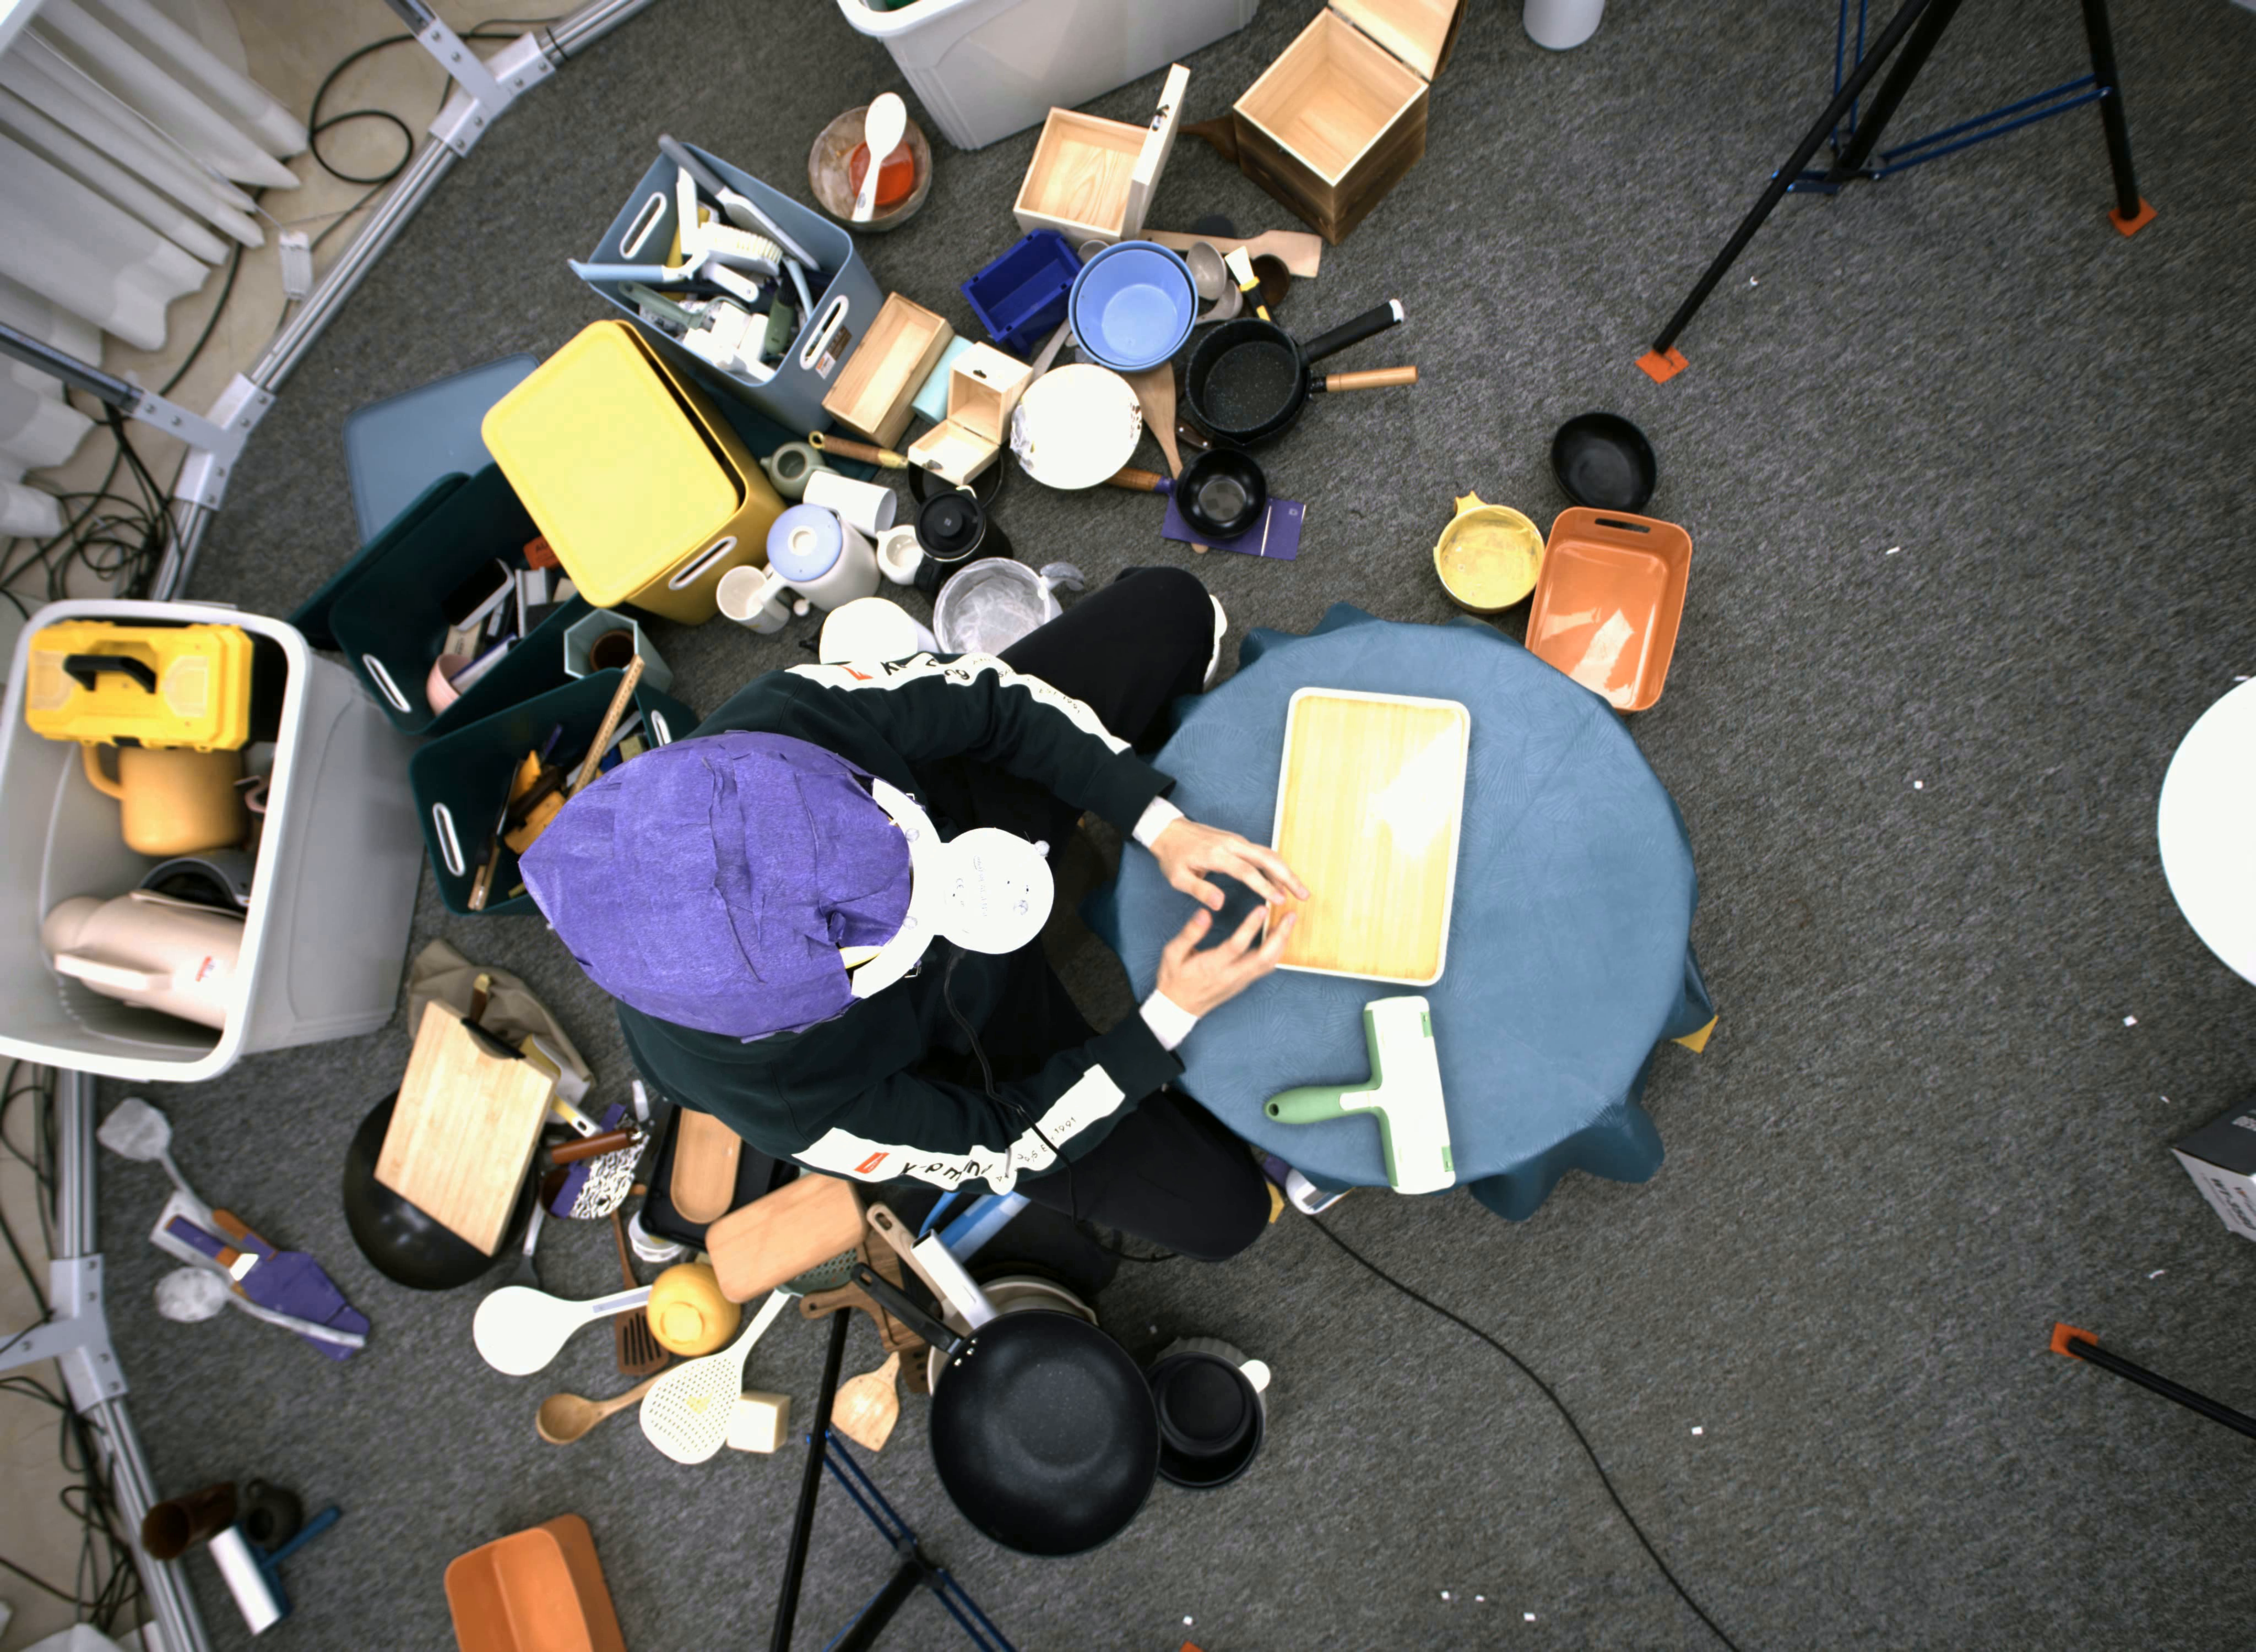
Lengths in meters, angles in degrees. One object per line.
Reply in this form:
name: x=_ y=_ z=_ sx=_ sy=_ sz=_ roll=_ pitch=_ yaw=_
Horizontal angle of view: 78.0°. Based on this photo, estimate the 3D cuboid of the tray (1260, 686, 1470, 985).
tray: x=0.248 y=0.007 z=1.449 sx=0.192 sy=0.027 sz=0.299 roll=7 pitch=88 yaw=11

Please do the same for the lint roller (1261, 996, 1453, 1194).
lint roller: x=0.227 y=0.280 z=1.413 sx=0.184 sy=0.082 sz=0.197 roll=-8 pitch=85 yaw=5
